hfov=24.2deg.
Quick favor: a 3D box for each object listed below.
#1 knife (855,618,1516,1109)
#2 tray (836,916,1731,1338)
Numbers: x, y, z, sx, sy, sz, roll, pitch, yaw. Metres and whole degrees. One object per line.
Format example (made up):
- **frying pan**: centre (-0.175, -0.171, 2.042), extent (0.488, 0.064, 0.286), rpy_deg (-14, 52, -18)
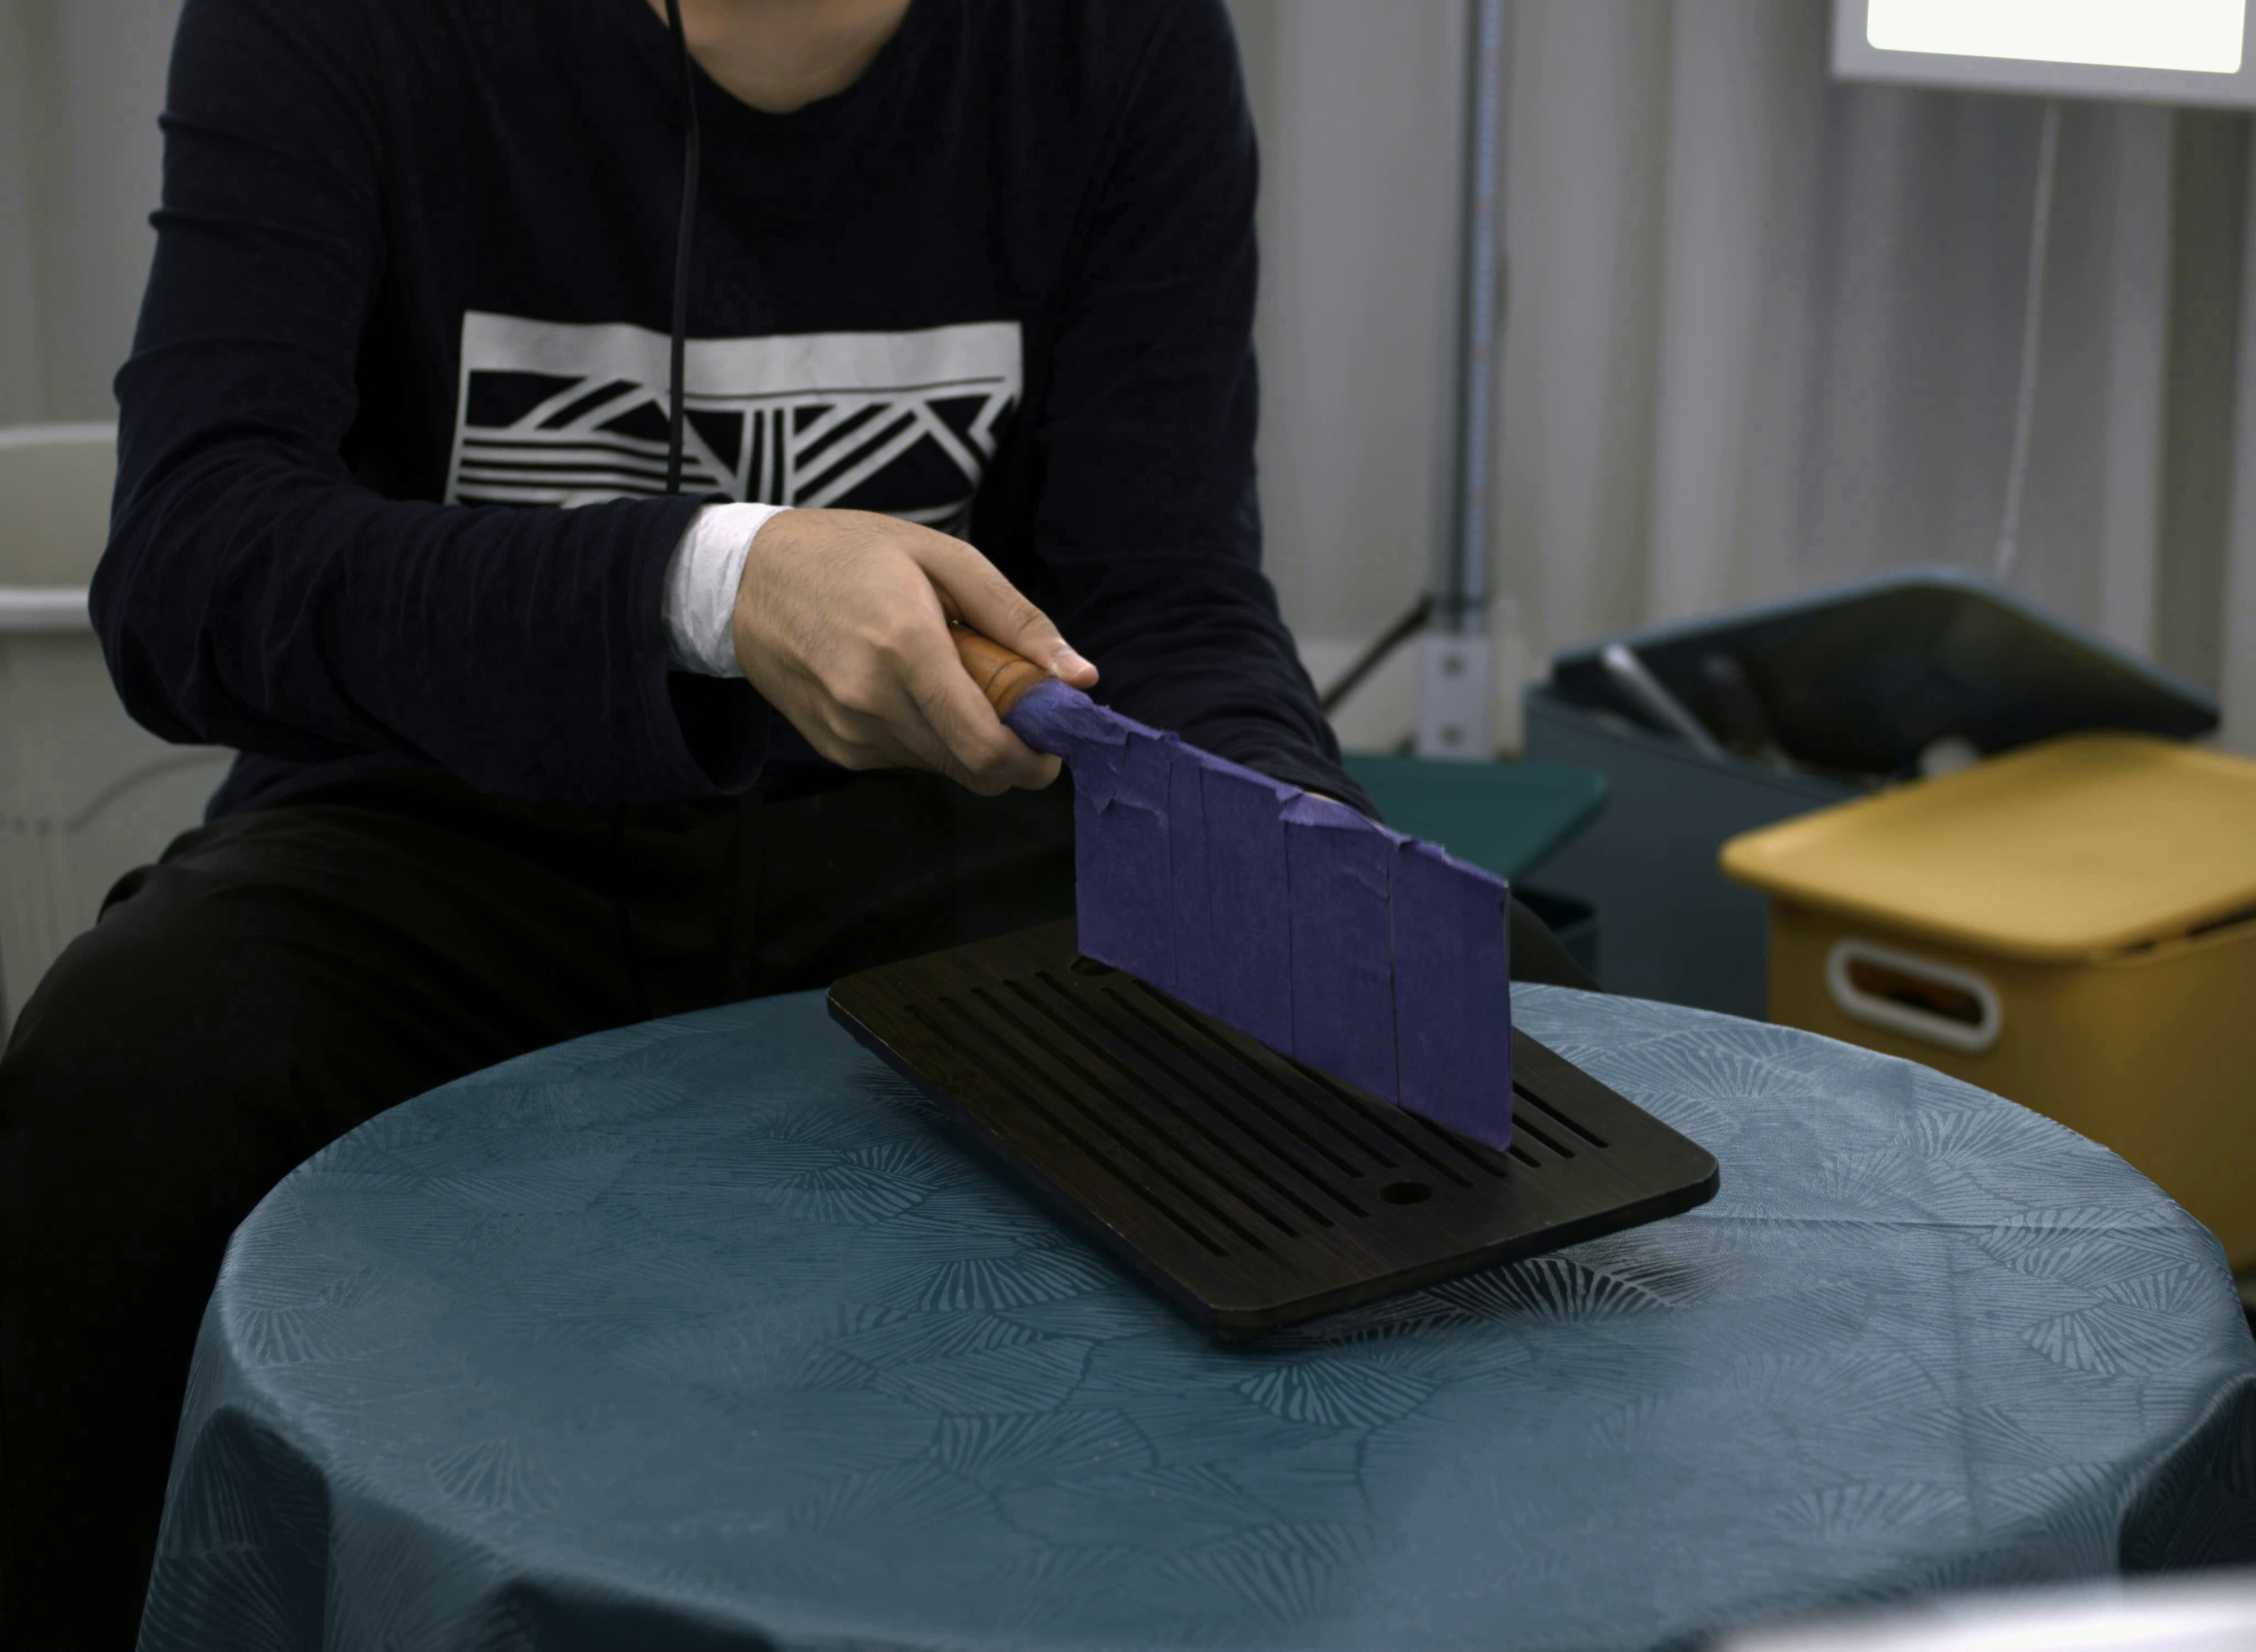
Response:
- **knife**: centre (0.013, 0.012, 1.654), extent (0.032, 0.105, 0.311), rpy_deg (-16, 25, -34)
- **tray**: centre (0.041, 0.083, 1.641), extent (0.170, 0.019, 0.302), rpy_deg (-14, 22, -23)
